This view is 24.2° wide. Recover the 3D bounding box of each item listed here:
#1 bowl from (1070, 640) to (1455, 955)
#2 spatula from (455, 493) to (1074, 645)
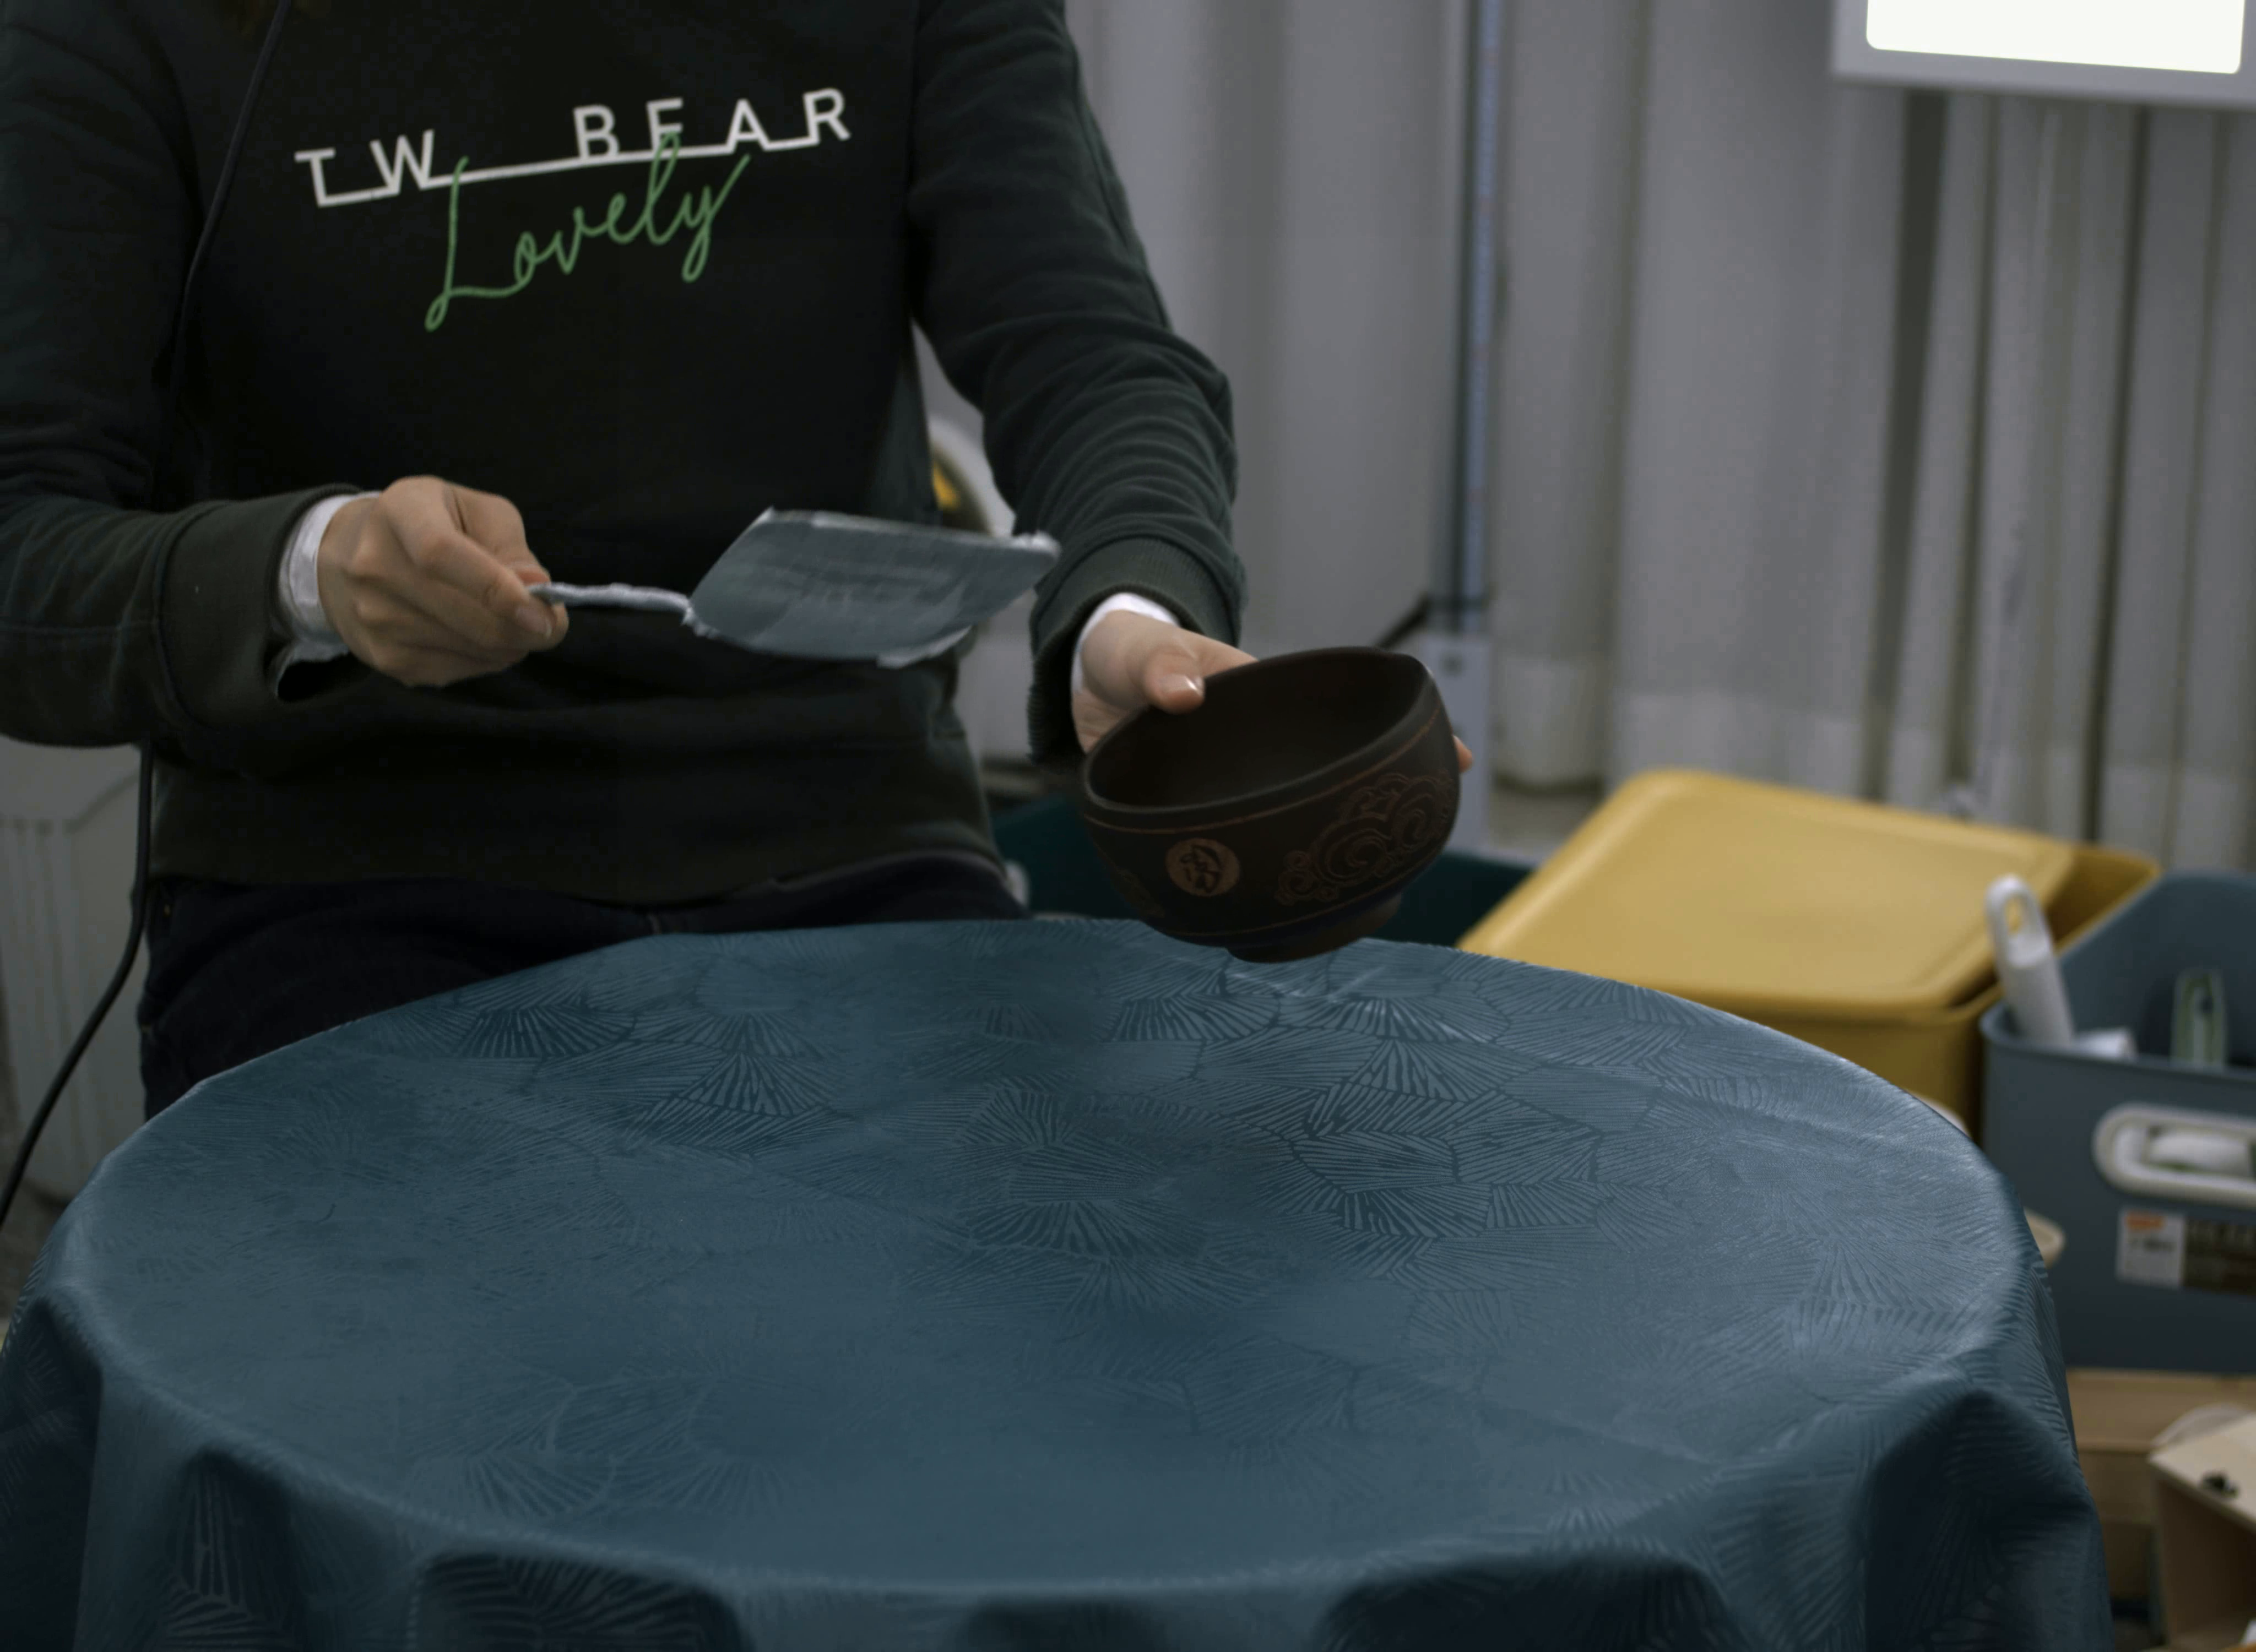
[{"bbox_3d":[0.046,-0.003,1.636,0.117,0.070,0.117,-15,20,6],"label":"bowl"},{"bbox_3d":[-0.138,-0.077,1.620,0.099,0.045,0.361,3,1,-29],"label":"spatula"}]
